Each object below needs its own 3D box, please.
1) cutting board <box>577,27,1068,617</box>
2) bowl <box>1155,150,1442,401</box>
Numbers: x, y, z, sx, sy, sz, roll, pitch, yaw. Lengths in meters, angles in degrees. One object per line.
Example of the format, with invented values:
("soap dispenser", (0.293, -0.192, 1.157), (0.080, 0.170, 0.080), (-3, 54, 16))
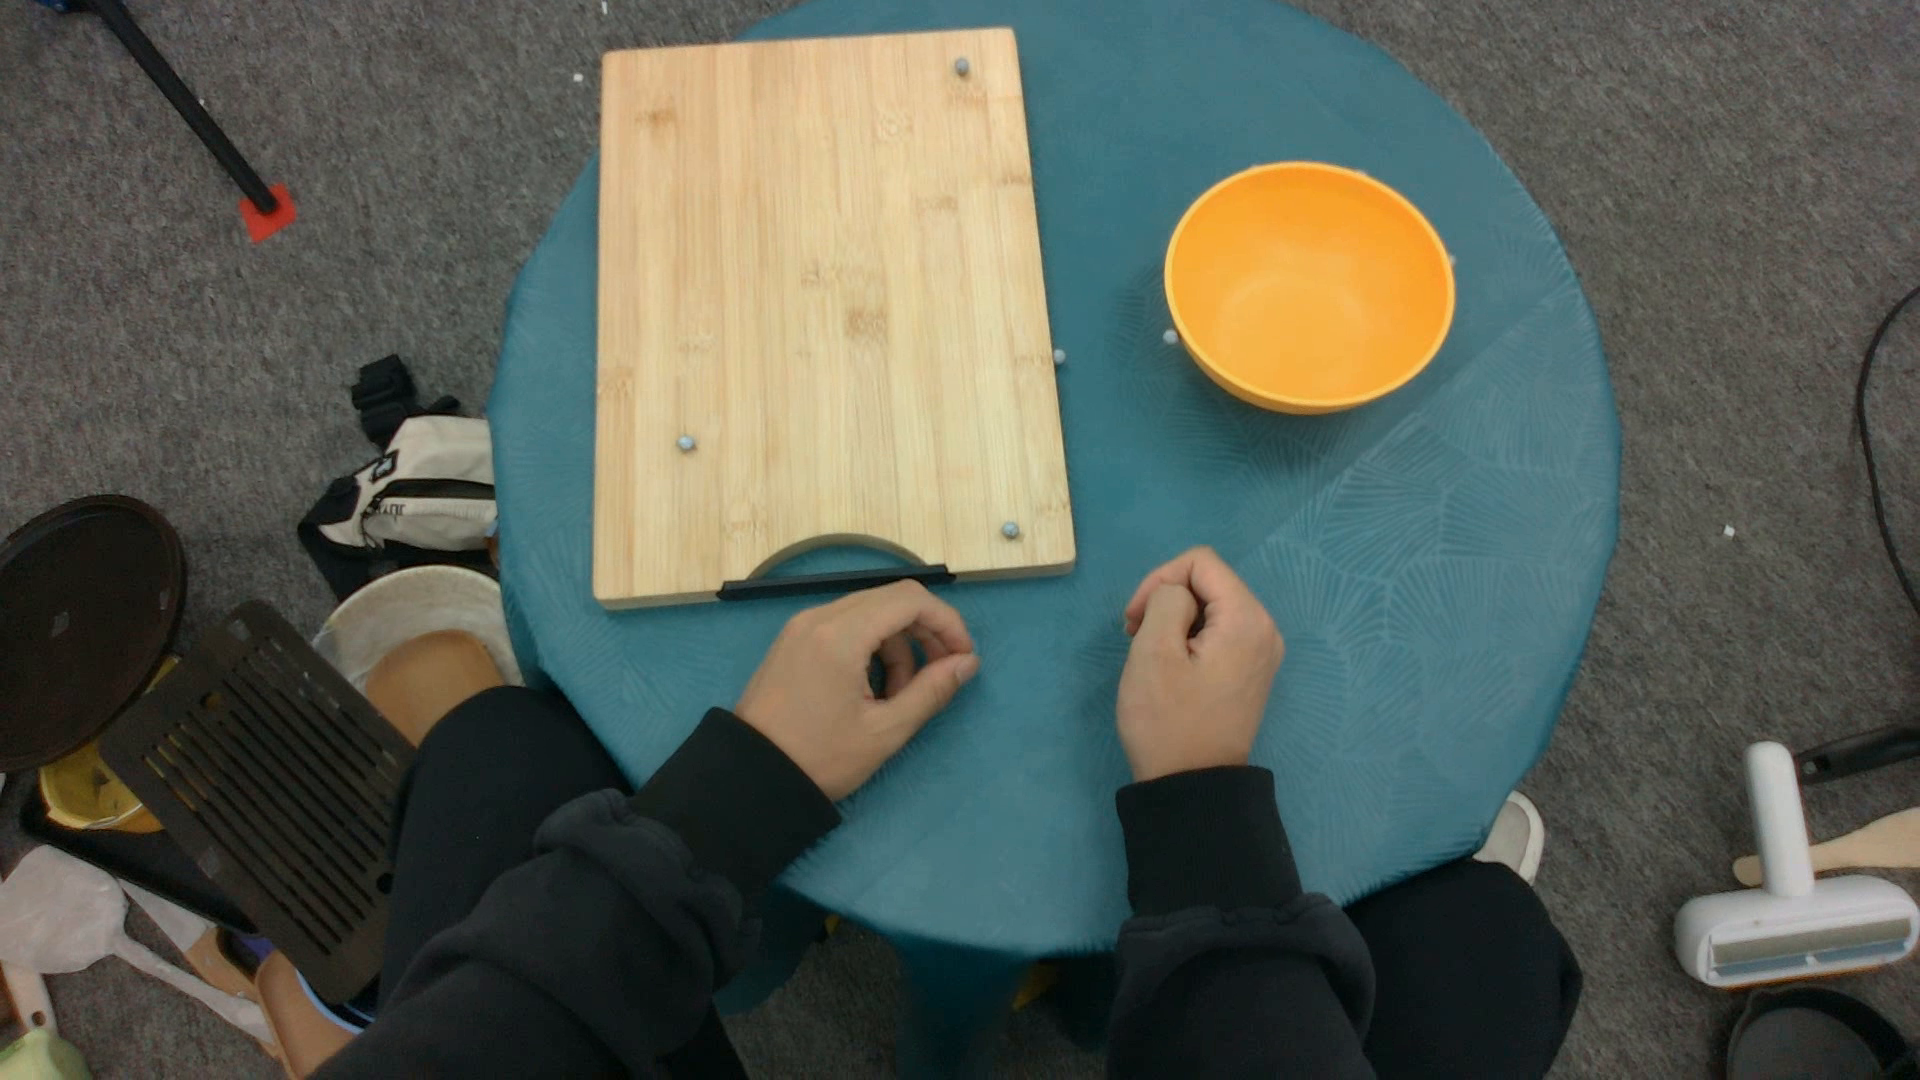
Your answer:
("cutting board", (-0.081, -0.133, 0.748), (0.251, 0.023, 0.349), (-6, 68, -3))
("bowl", (0.173, -0.129, 0.727), (0.145, 0.060, 0.146), (-1, 70, 2))
